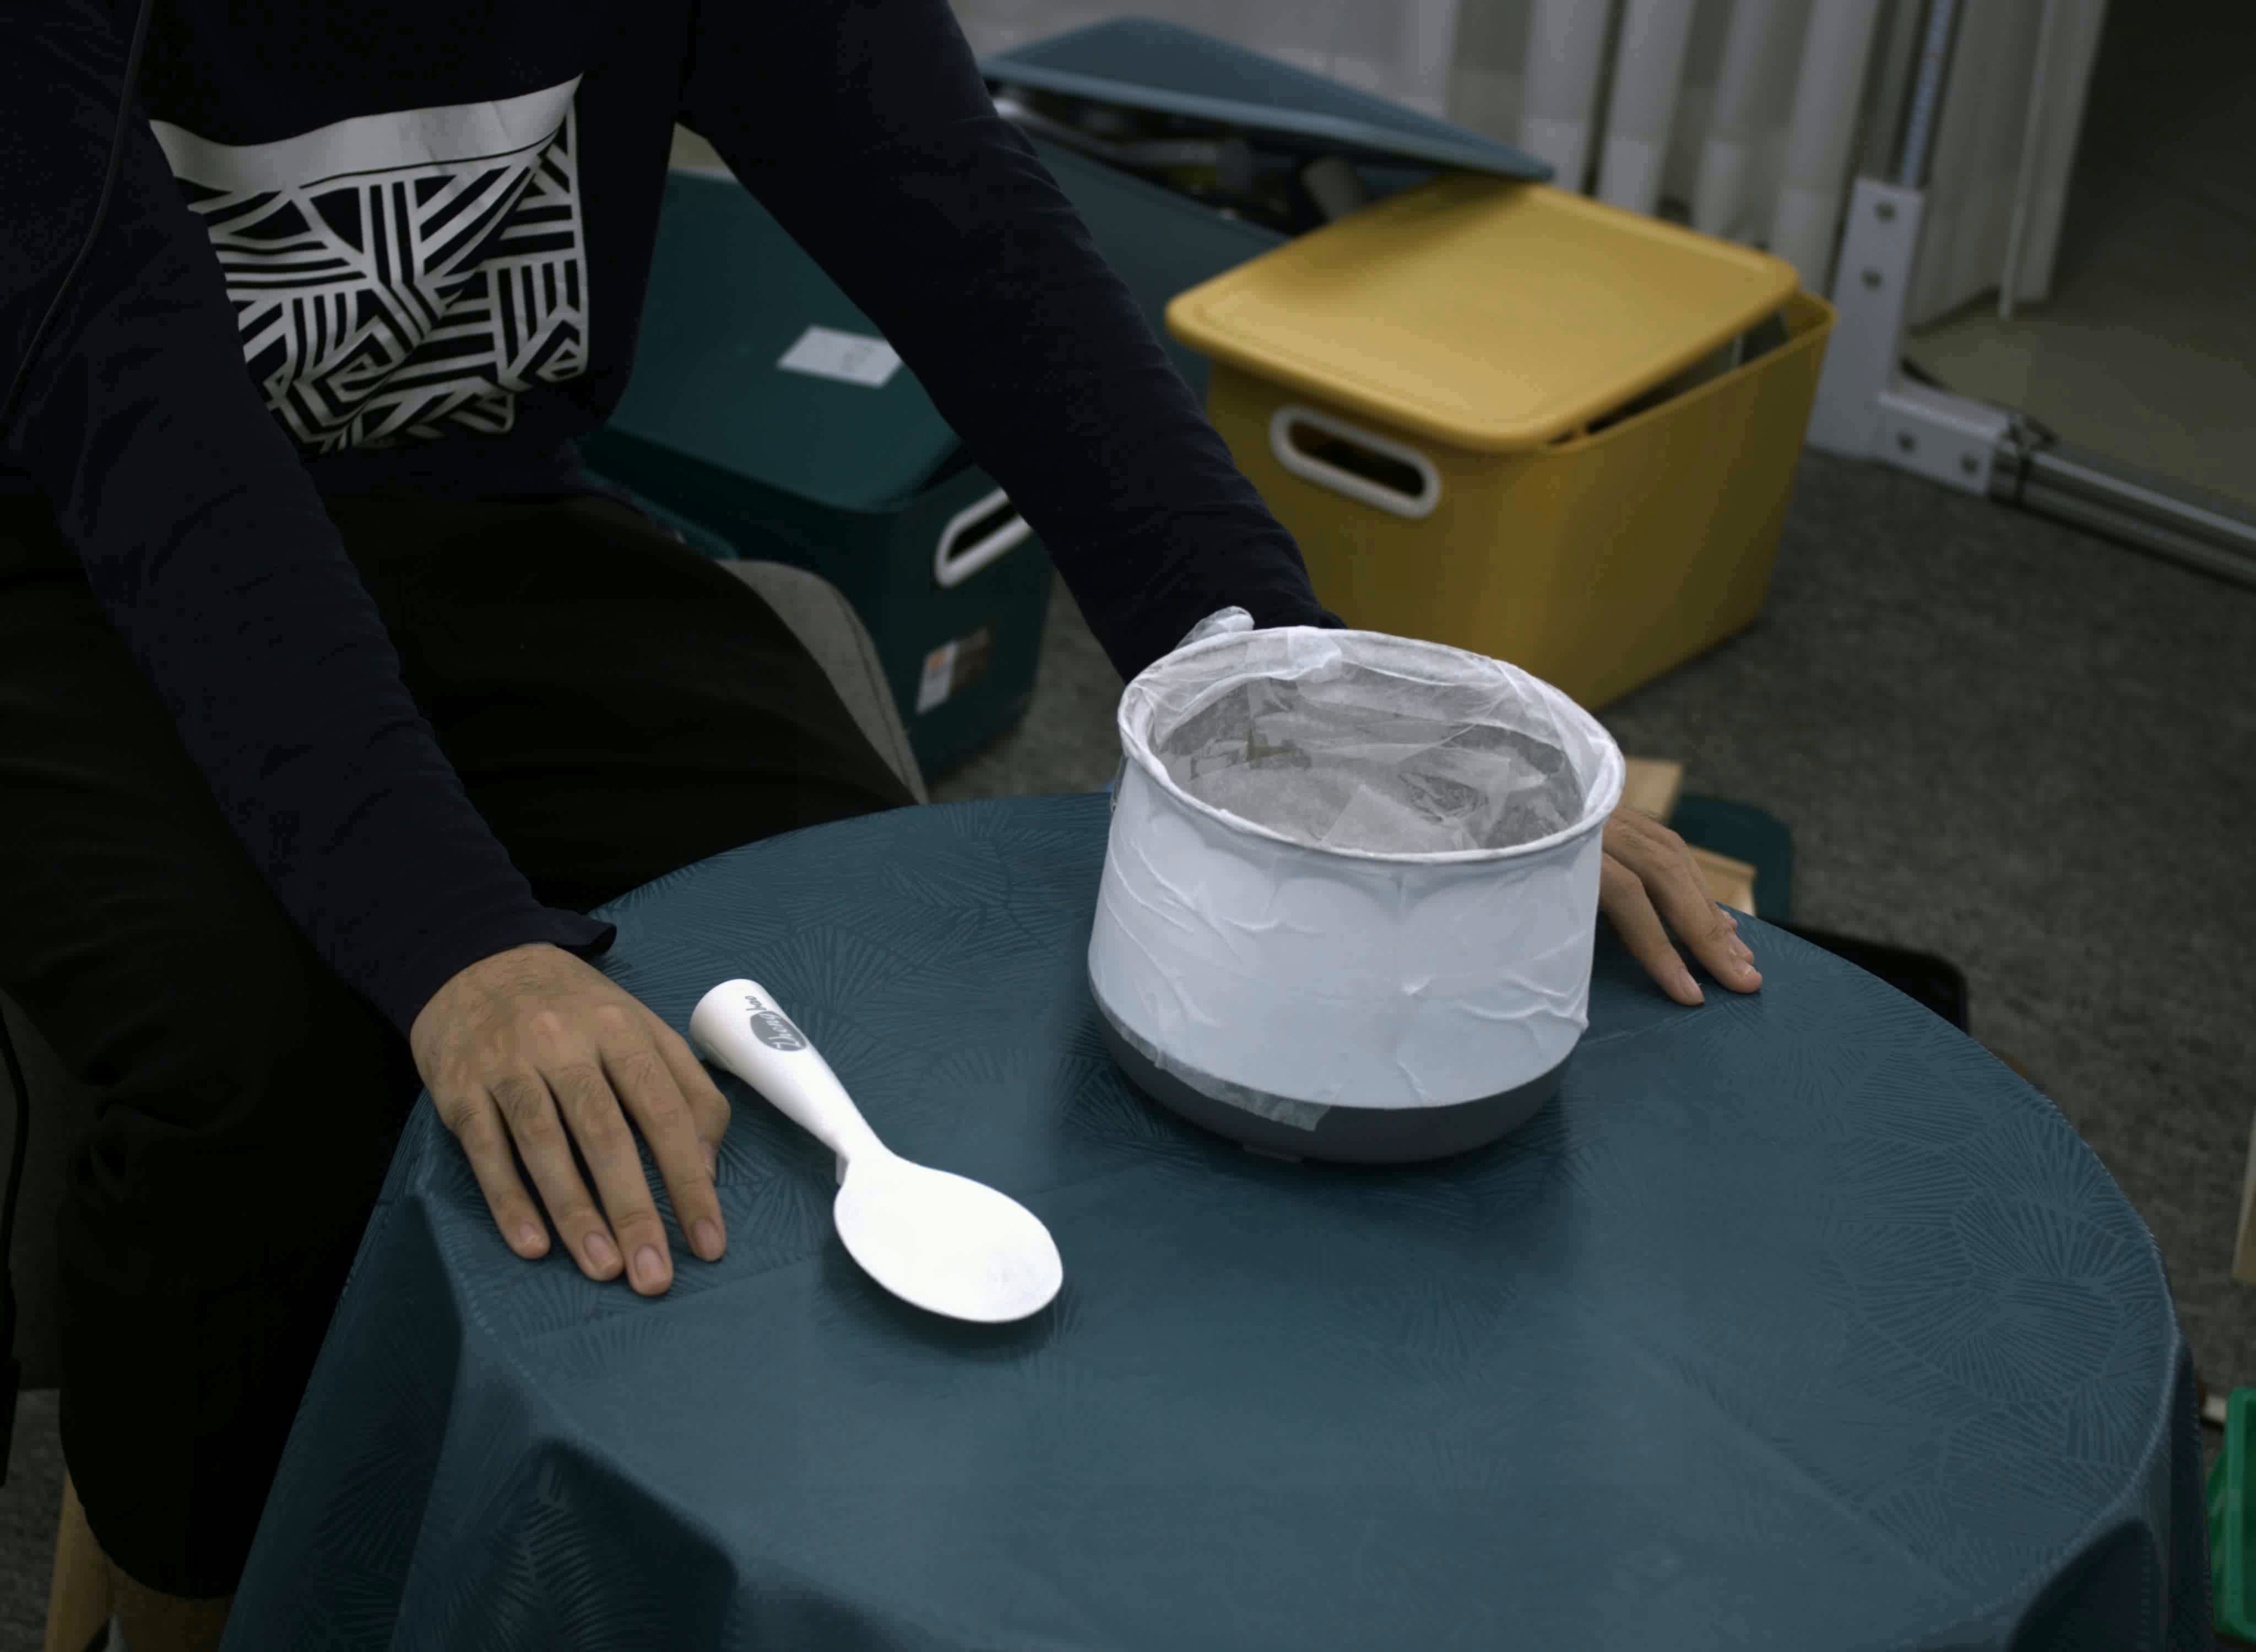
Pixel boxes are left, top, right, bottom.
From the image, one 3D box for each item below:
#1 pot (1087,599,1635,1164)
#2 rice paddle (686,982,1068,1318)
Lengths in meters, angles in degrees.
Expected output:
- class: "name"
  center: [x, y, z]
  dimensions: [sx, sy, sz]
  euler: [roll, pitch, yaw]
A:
- class: "pot"
  center: [0.064, 0.013, 1.885]
  dimensions: [0.177, 0.136, 0.236]
  euler: [-6, 30, -30]
- class: "rice paddle"
  center: [-0.087, 0.110, 1.781]
  dimensions: [0.068, 0.029, 0.207]
  euler: [-12, 31, -29]
